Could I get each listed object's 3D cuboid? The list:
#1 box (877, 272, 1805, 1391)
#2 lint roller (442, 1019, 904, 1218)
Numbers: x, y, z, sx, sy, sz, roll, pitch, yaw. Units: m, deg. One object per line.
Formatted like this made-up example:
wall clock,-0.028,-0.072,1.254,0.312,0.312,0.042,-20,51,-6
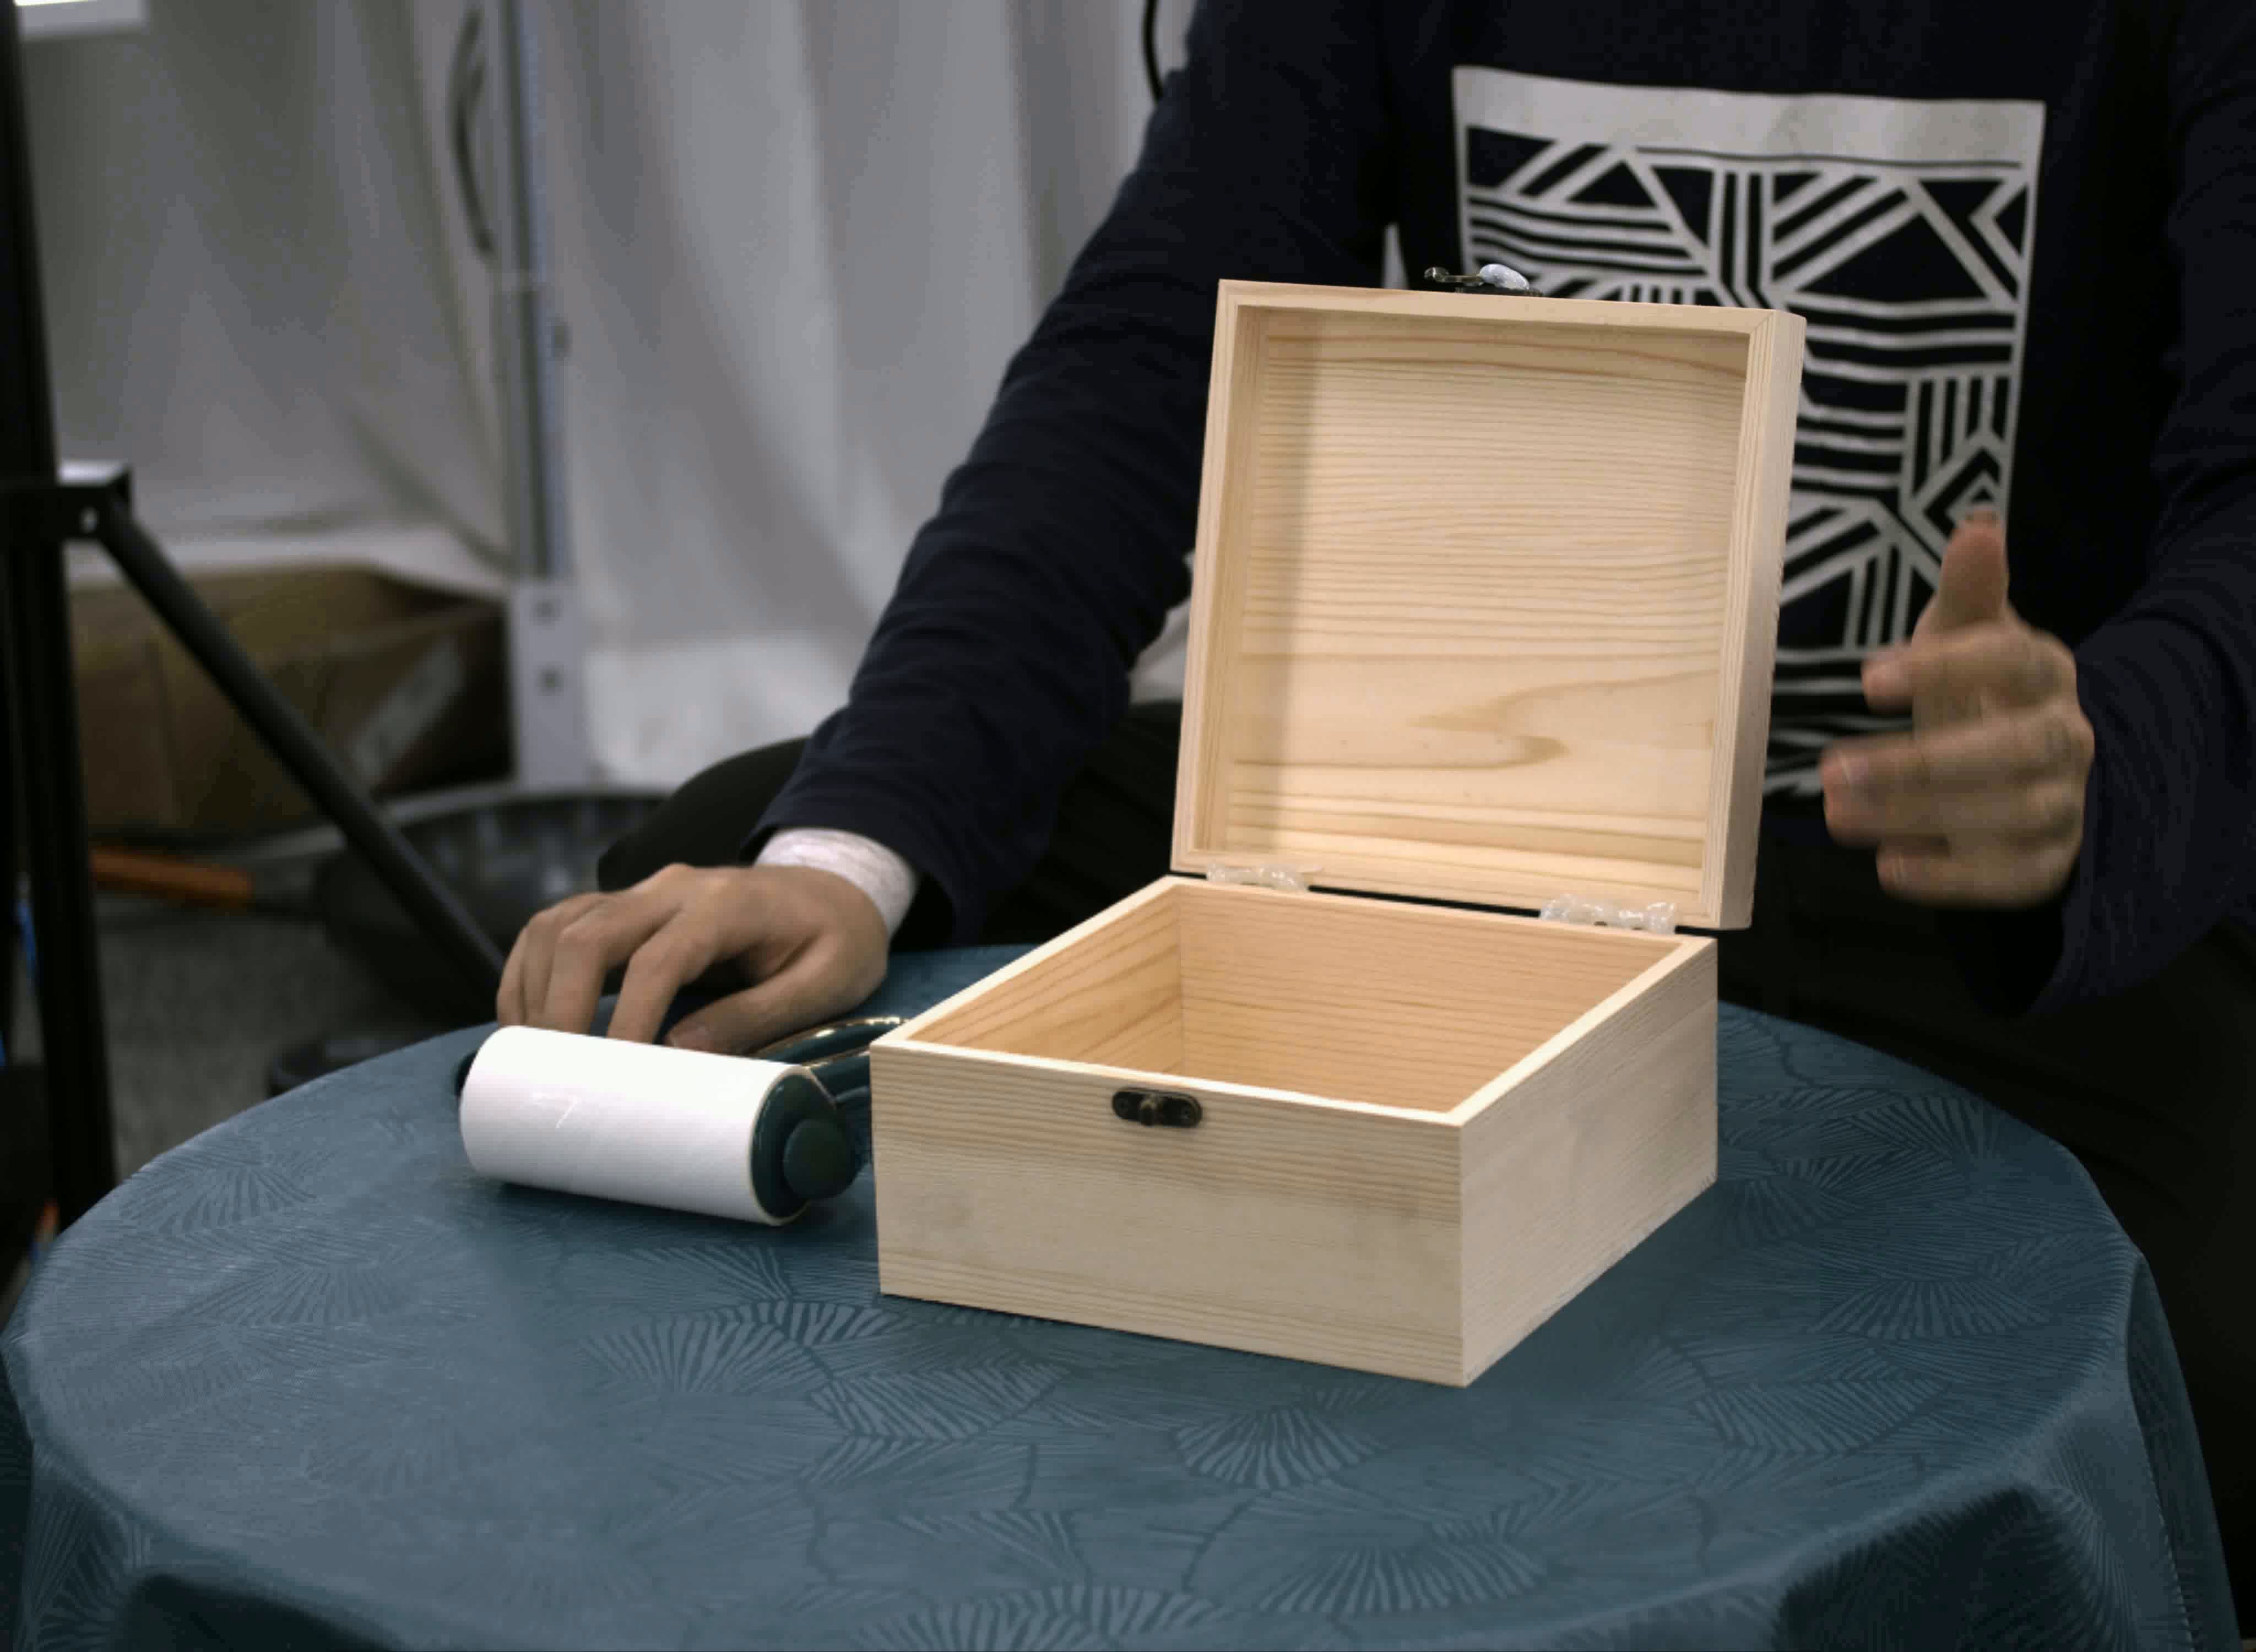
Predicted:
box,0.064,-0.011,1.514,0.185,0.253,0.261,5,17,28
lint roller,-0.112,0.075,1.627,0.136,0.048,0.177,6,13,28
